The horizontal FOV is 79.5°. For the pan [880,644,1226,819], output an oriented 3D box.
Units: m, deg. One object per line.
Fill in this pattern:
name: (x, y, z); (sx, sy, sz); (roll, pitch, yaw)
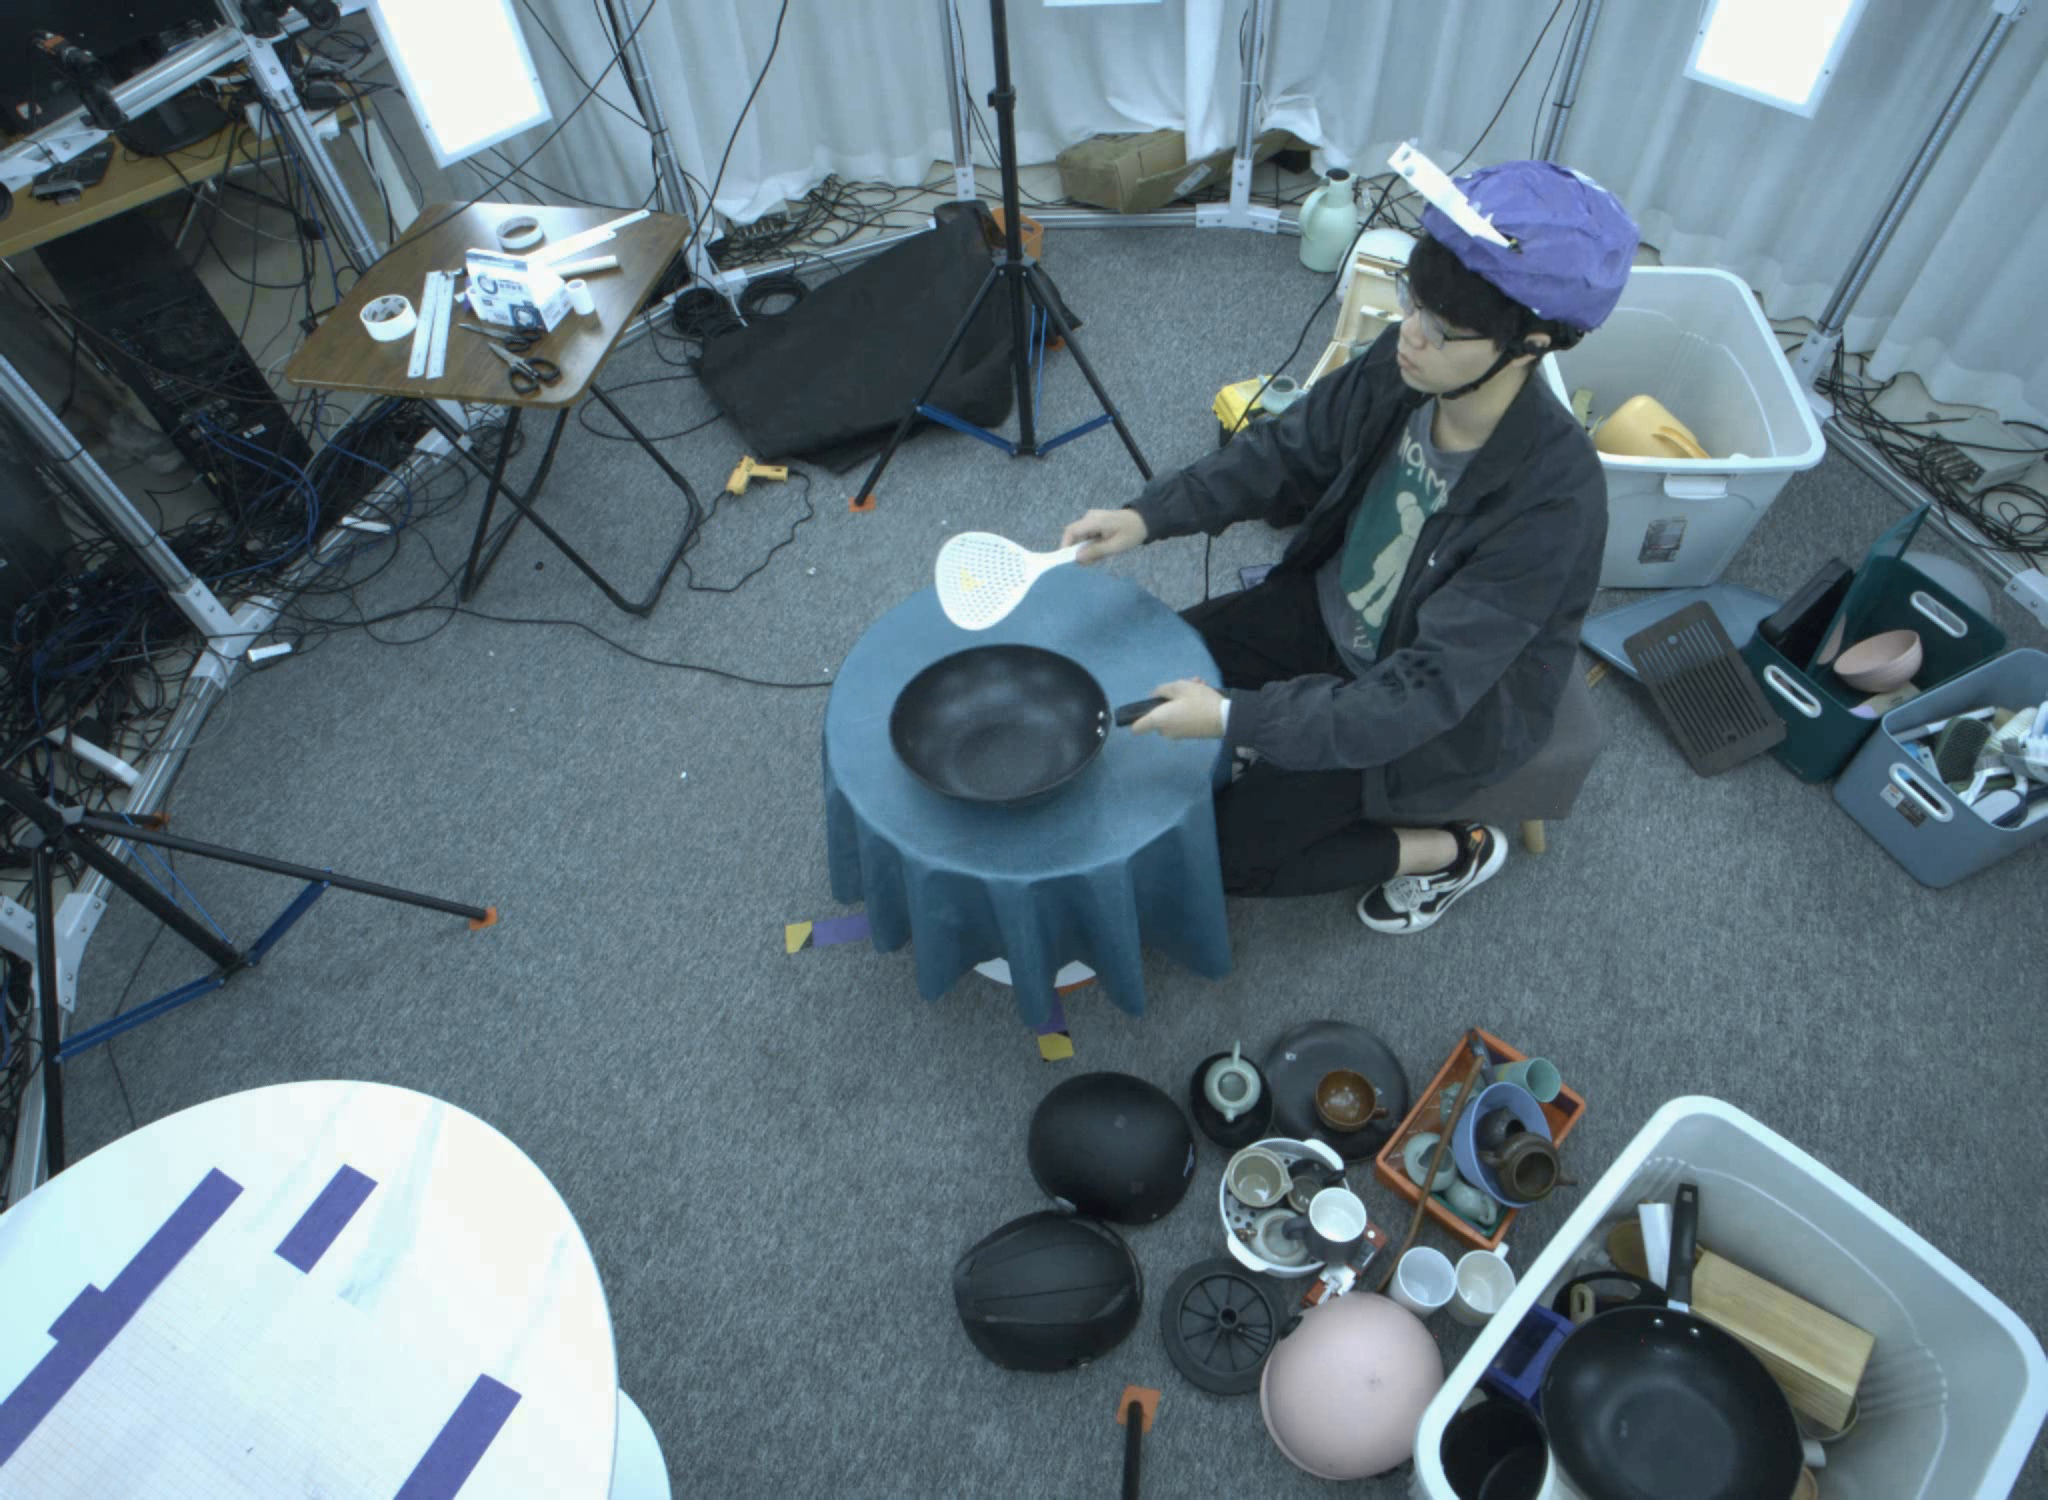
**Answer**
pan: (0.040, -0.025, 1.714); (0.477, 0.113, 0.306); (-3, 49, 1)

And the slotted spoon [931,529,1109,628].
slotted spoon: (0.005, -0.273, 1.782); (0.353, 0.137, 0.049); (-20, 15, -32)
